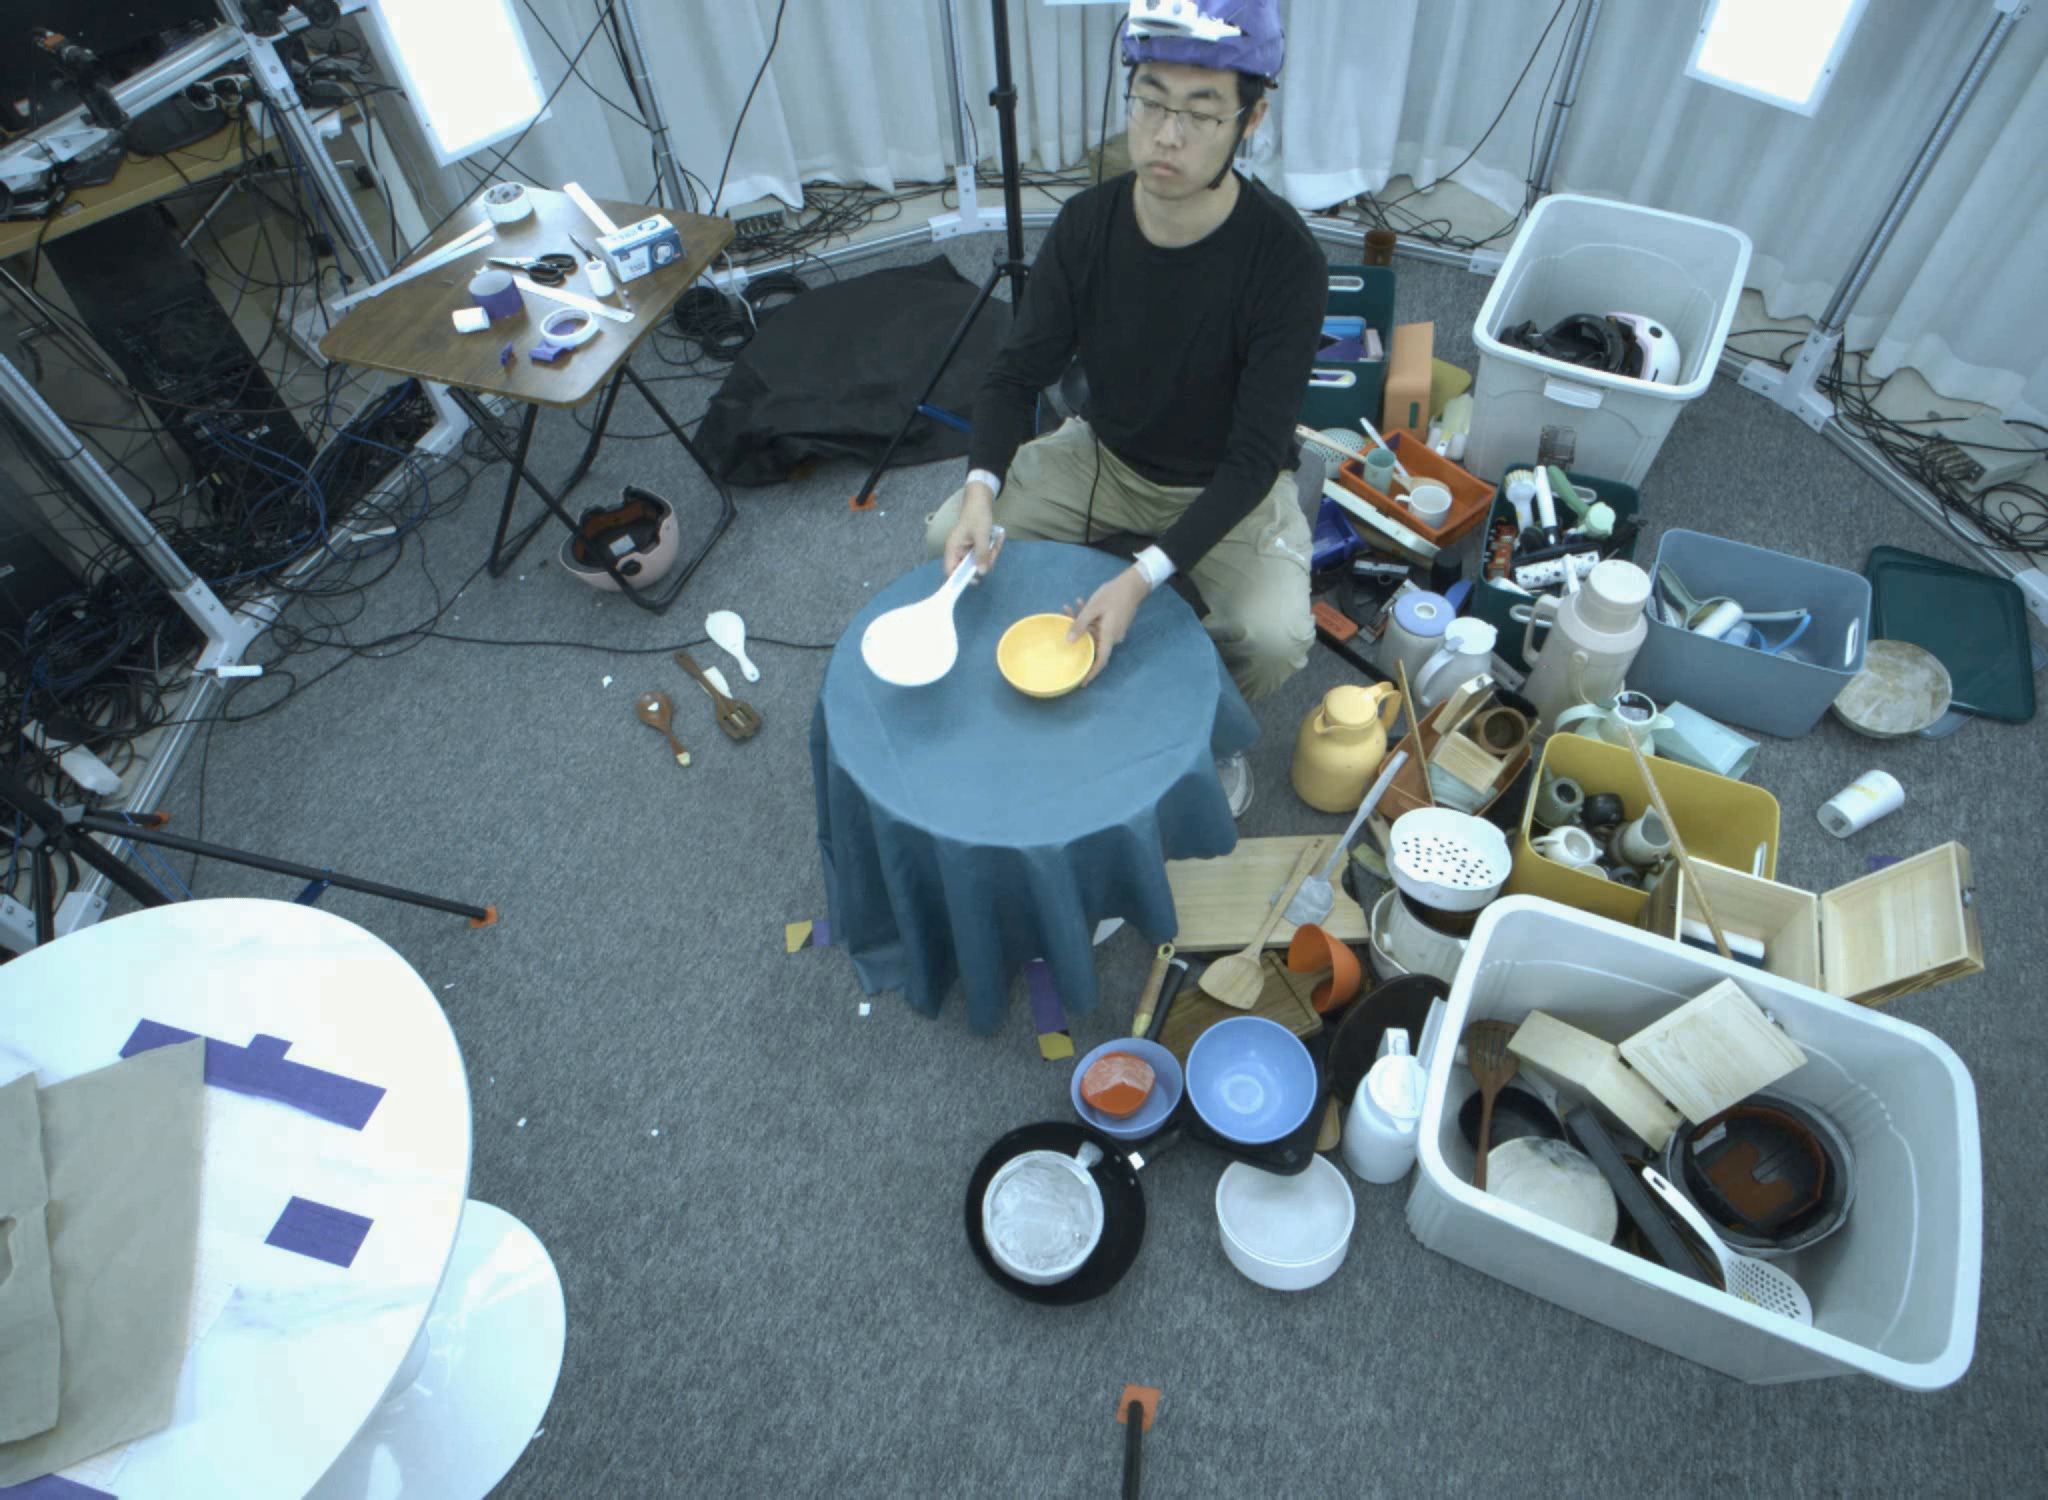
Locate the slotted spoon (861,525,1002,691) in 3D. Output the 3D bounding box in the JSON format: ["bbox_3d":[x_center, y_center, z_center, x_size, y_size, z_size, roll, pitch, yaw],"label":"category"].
[{"bbox_3d":[-0.123,-0.220,1.845,0.135,0.046,0.350,23,64,10],"label":"slotted spoon"}]

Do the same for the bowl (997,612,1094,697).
[{"bbox_3d":[0.033,-0.132,1.843,0.145,0.061,0.144,-1,59,2],"label":"bowl"}]
